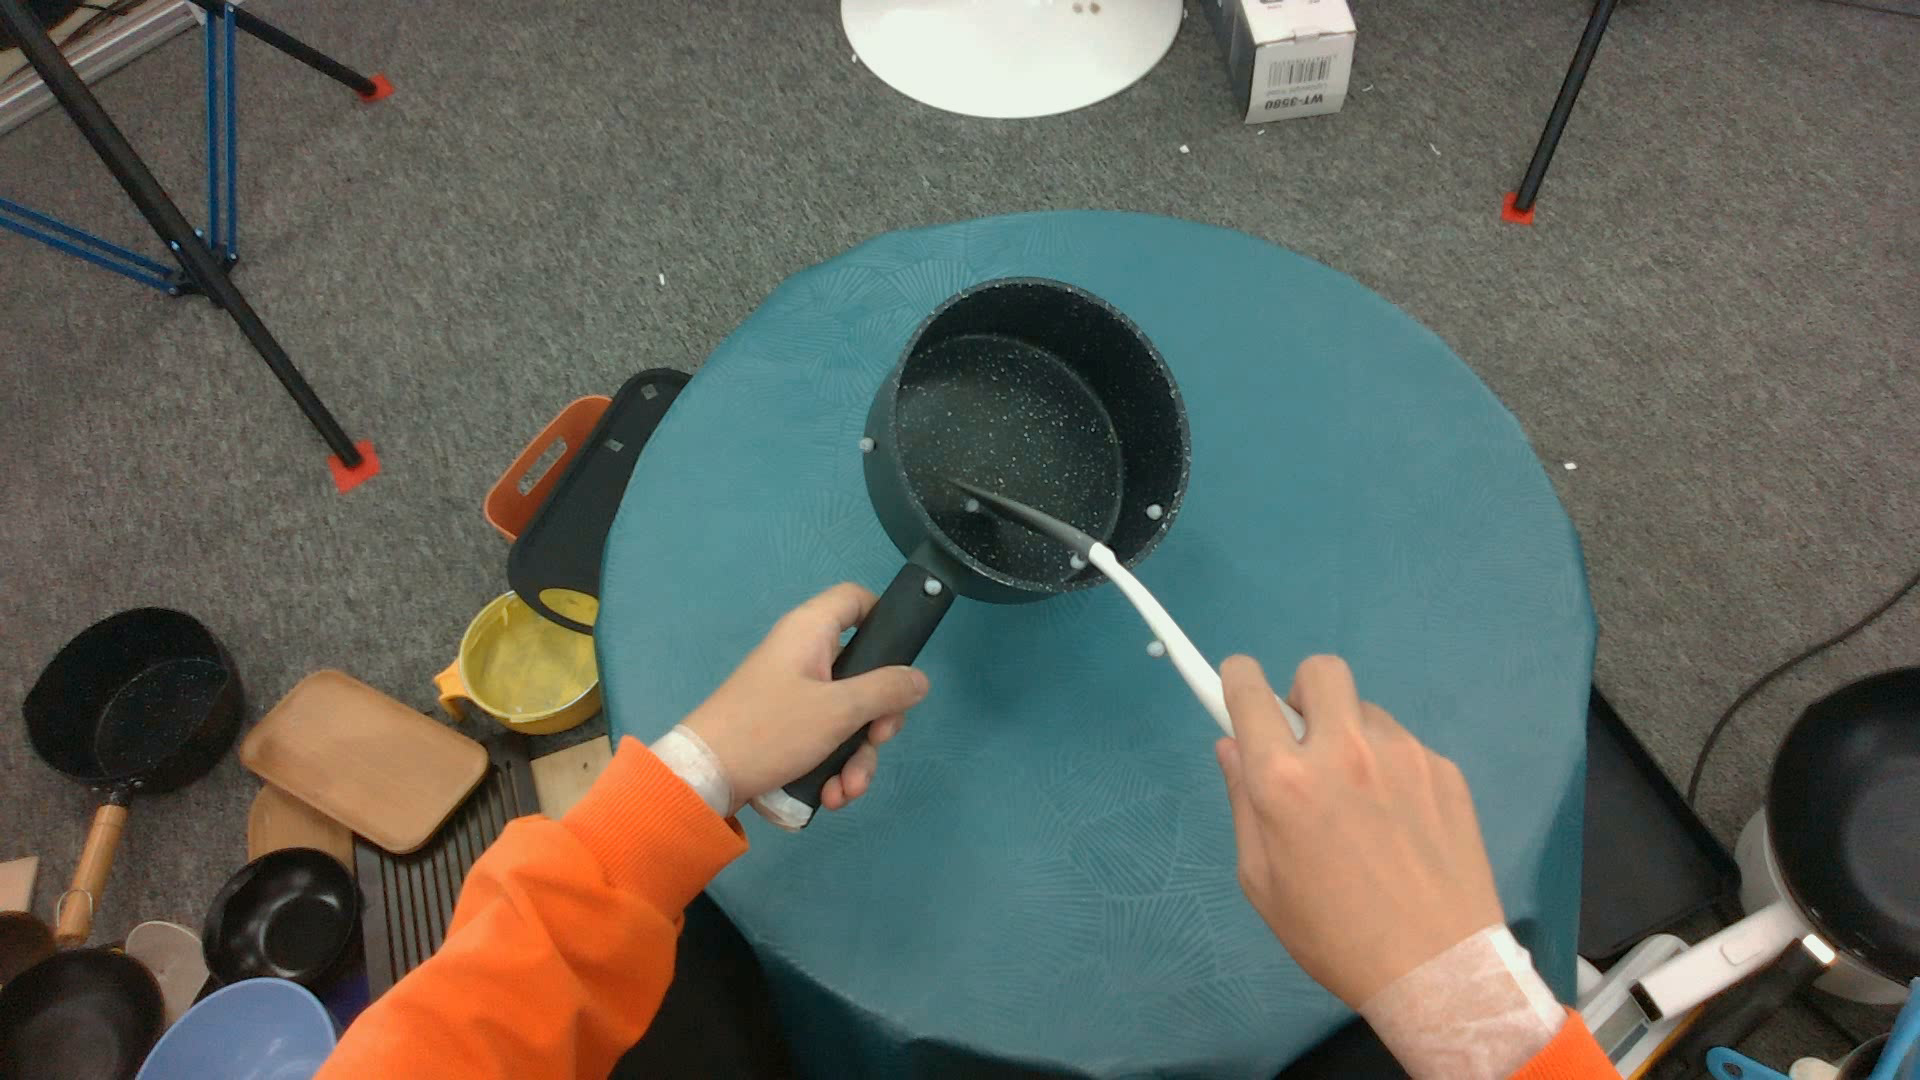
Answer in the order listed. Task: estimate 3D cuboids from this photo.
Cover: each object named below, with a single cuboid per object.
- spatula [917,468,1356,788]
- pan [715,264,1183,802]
[{"bbox_3d":[0.073,0.025,0.660,0.288,0.059,0.032,39,104,46],"label":"spatula"},{"bbox_3d":[-0.016,0.001,0.720,0.172,0.086,0.330,41,67,-6],"label":"pan"}]
